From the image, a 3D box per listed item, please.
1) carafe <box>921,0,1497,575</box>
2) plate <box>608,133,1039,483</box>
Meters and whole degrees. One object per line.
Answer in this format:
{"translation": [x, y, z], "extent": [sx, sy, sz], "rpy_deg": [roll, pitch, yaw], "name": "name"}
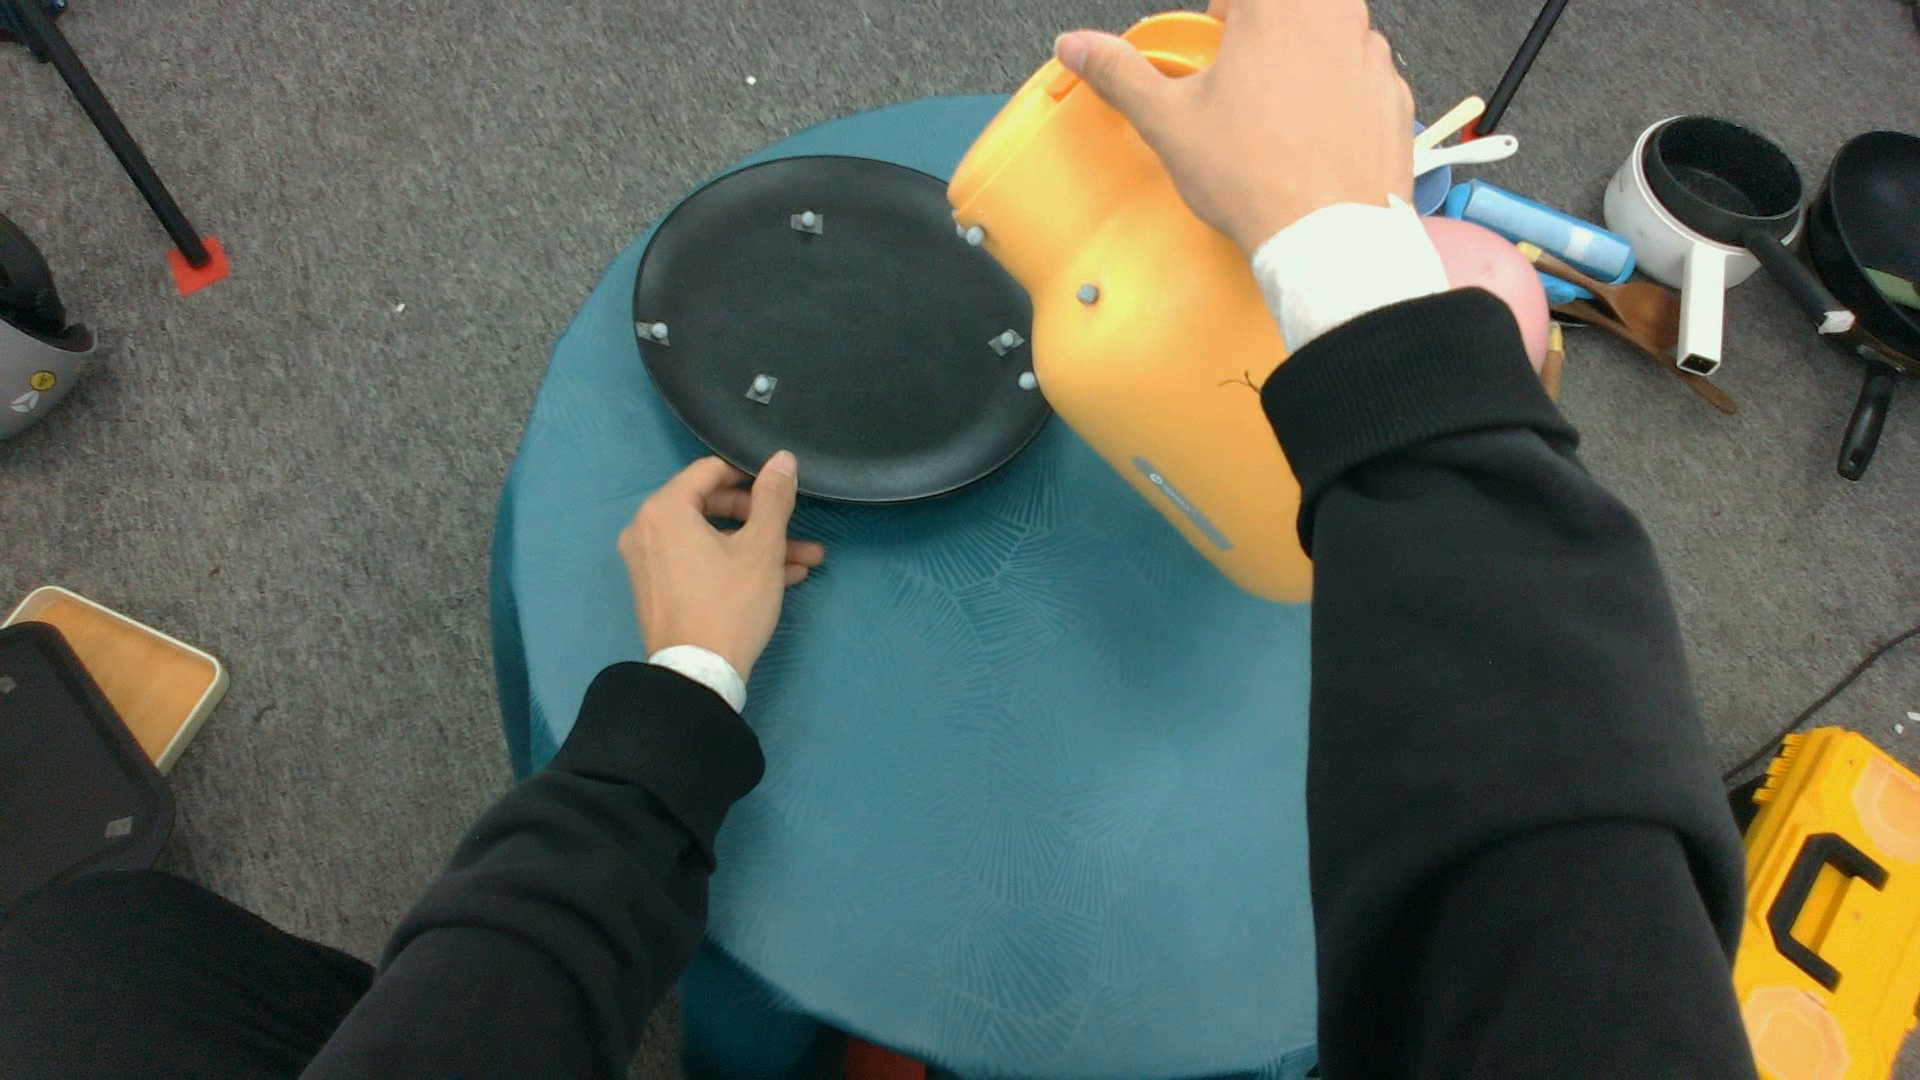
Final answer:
{"translation": [0.110, -0.116, 0.607], "extent": [0.260, 0.202, 0.164], "rpy_deg": [39, 70, -10], "name": "carafe"}
{"translation": [-0.071, -0.132, 0.770], "extent": [0.244, 0.023, 0.245], "rpy_deg": [6, 59, -10], "name": "plate"}
